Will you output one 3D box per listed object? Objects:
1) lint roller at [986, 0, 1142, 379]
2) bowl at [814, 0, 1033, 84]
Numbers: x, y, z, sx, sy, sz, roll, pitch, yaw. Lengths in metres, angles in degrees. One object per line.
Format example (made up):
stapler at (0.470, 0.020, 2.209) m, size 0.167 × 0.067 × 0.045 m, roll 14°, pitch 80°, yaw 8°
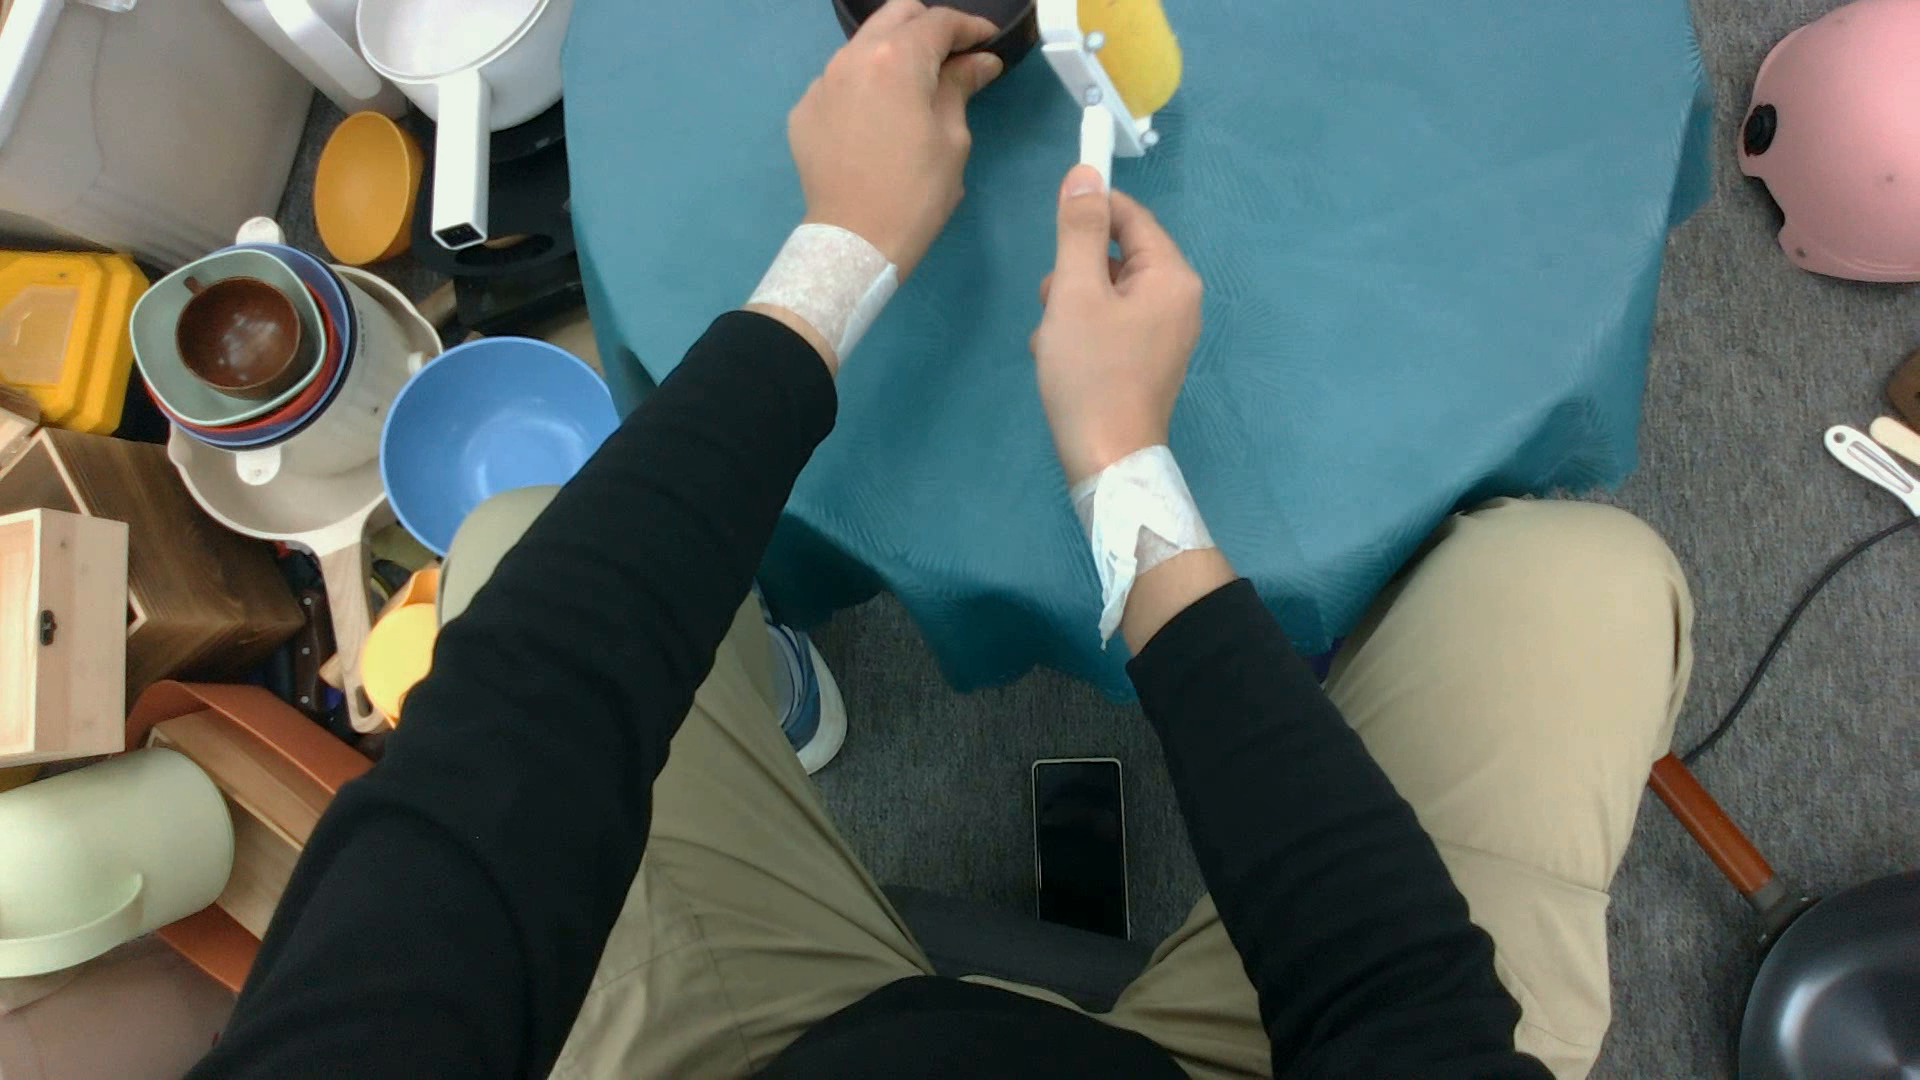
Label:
lint roller at (0.061, -0.173, 0.635) m, size 0.051 × 0.174 × 0.192 m, roll -13°, pitch 87°, yaw 17°
bowl at (-0.017, -0.291, 0.712) m, size 0.118 × 0.070 × 0.118 m, roll -1°, pitch 81°, yaw 5°
